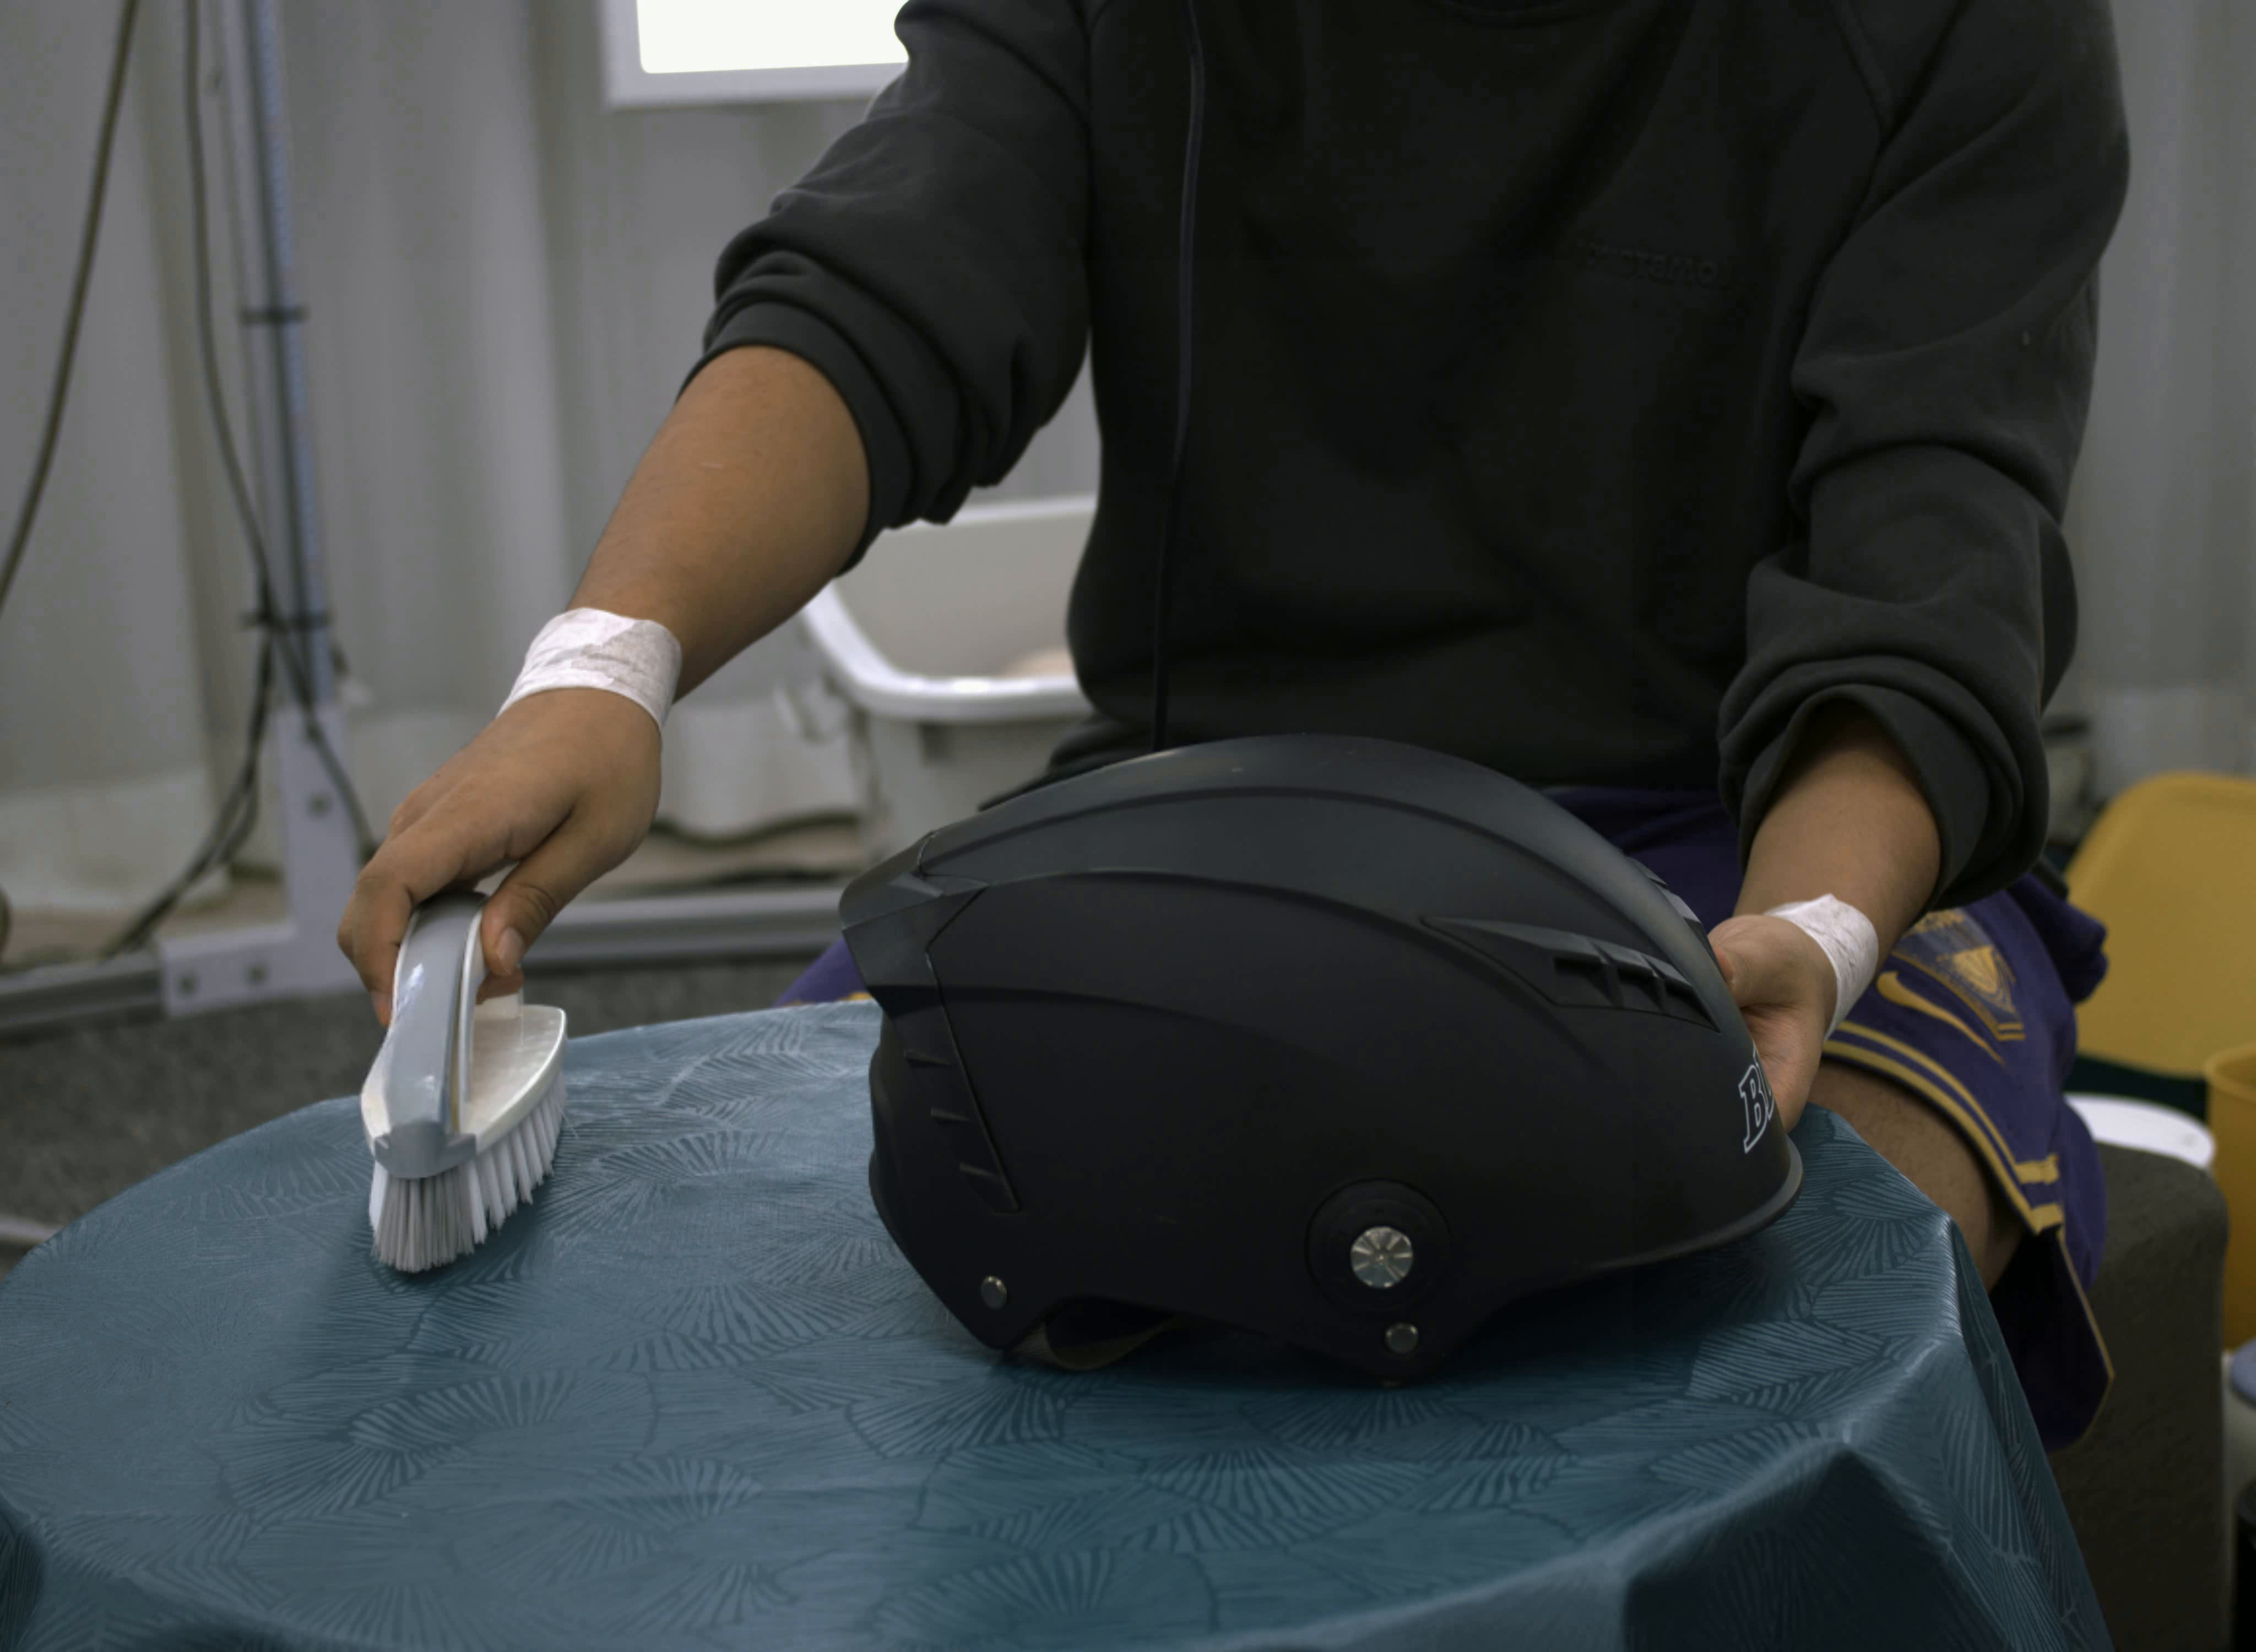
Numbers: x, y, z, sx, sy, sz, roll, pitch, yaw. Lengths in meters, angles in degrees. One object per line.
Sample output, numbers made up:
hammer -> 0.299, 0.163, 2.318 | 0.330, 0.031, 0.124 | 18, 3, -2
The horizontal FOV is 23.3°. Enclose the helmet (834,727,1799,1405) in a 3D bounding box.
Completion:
helmet -> 0.054, 0.056, 1.619 | 0.276, 0.172, 0.248 | -4, 15, 12

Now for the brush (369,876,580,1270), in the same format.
brush -> -0.213, 0.073, 1.739 | 0.061, 0.094, 0.177 | -4, 16, 3
